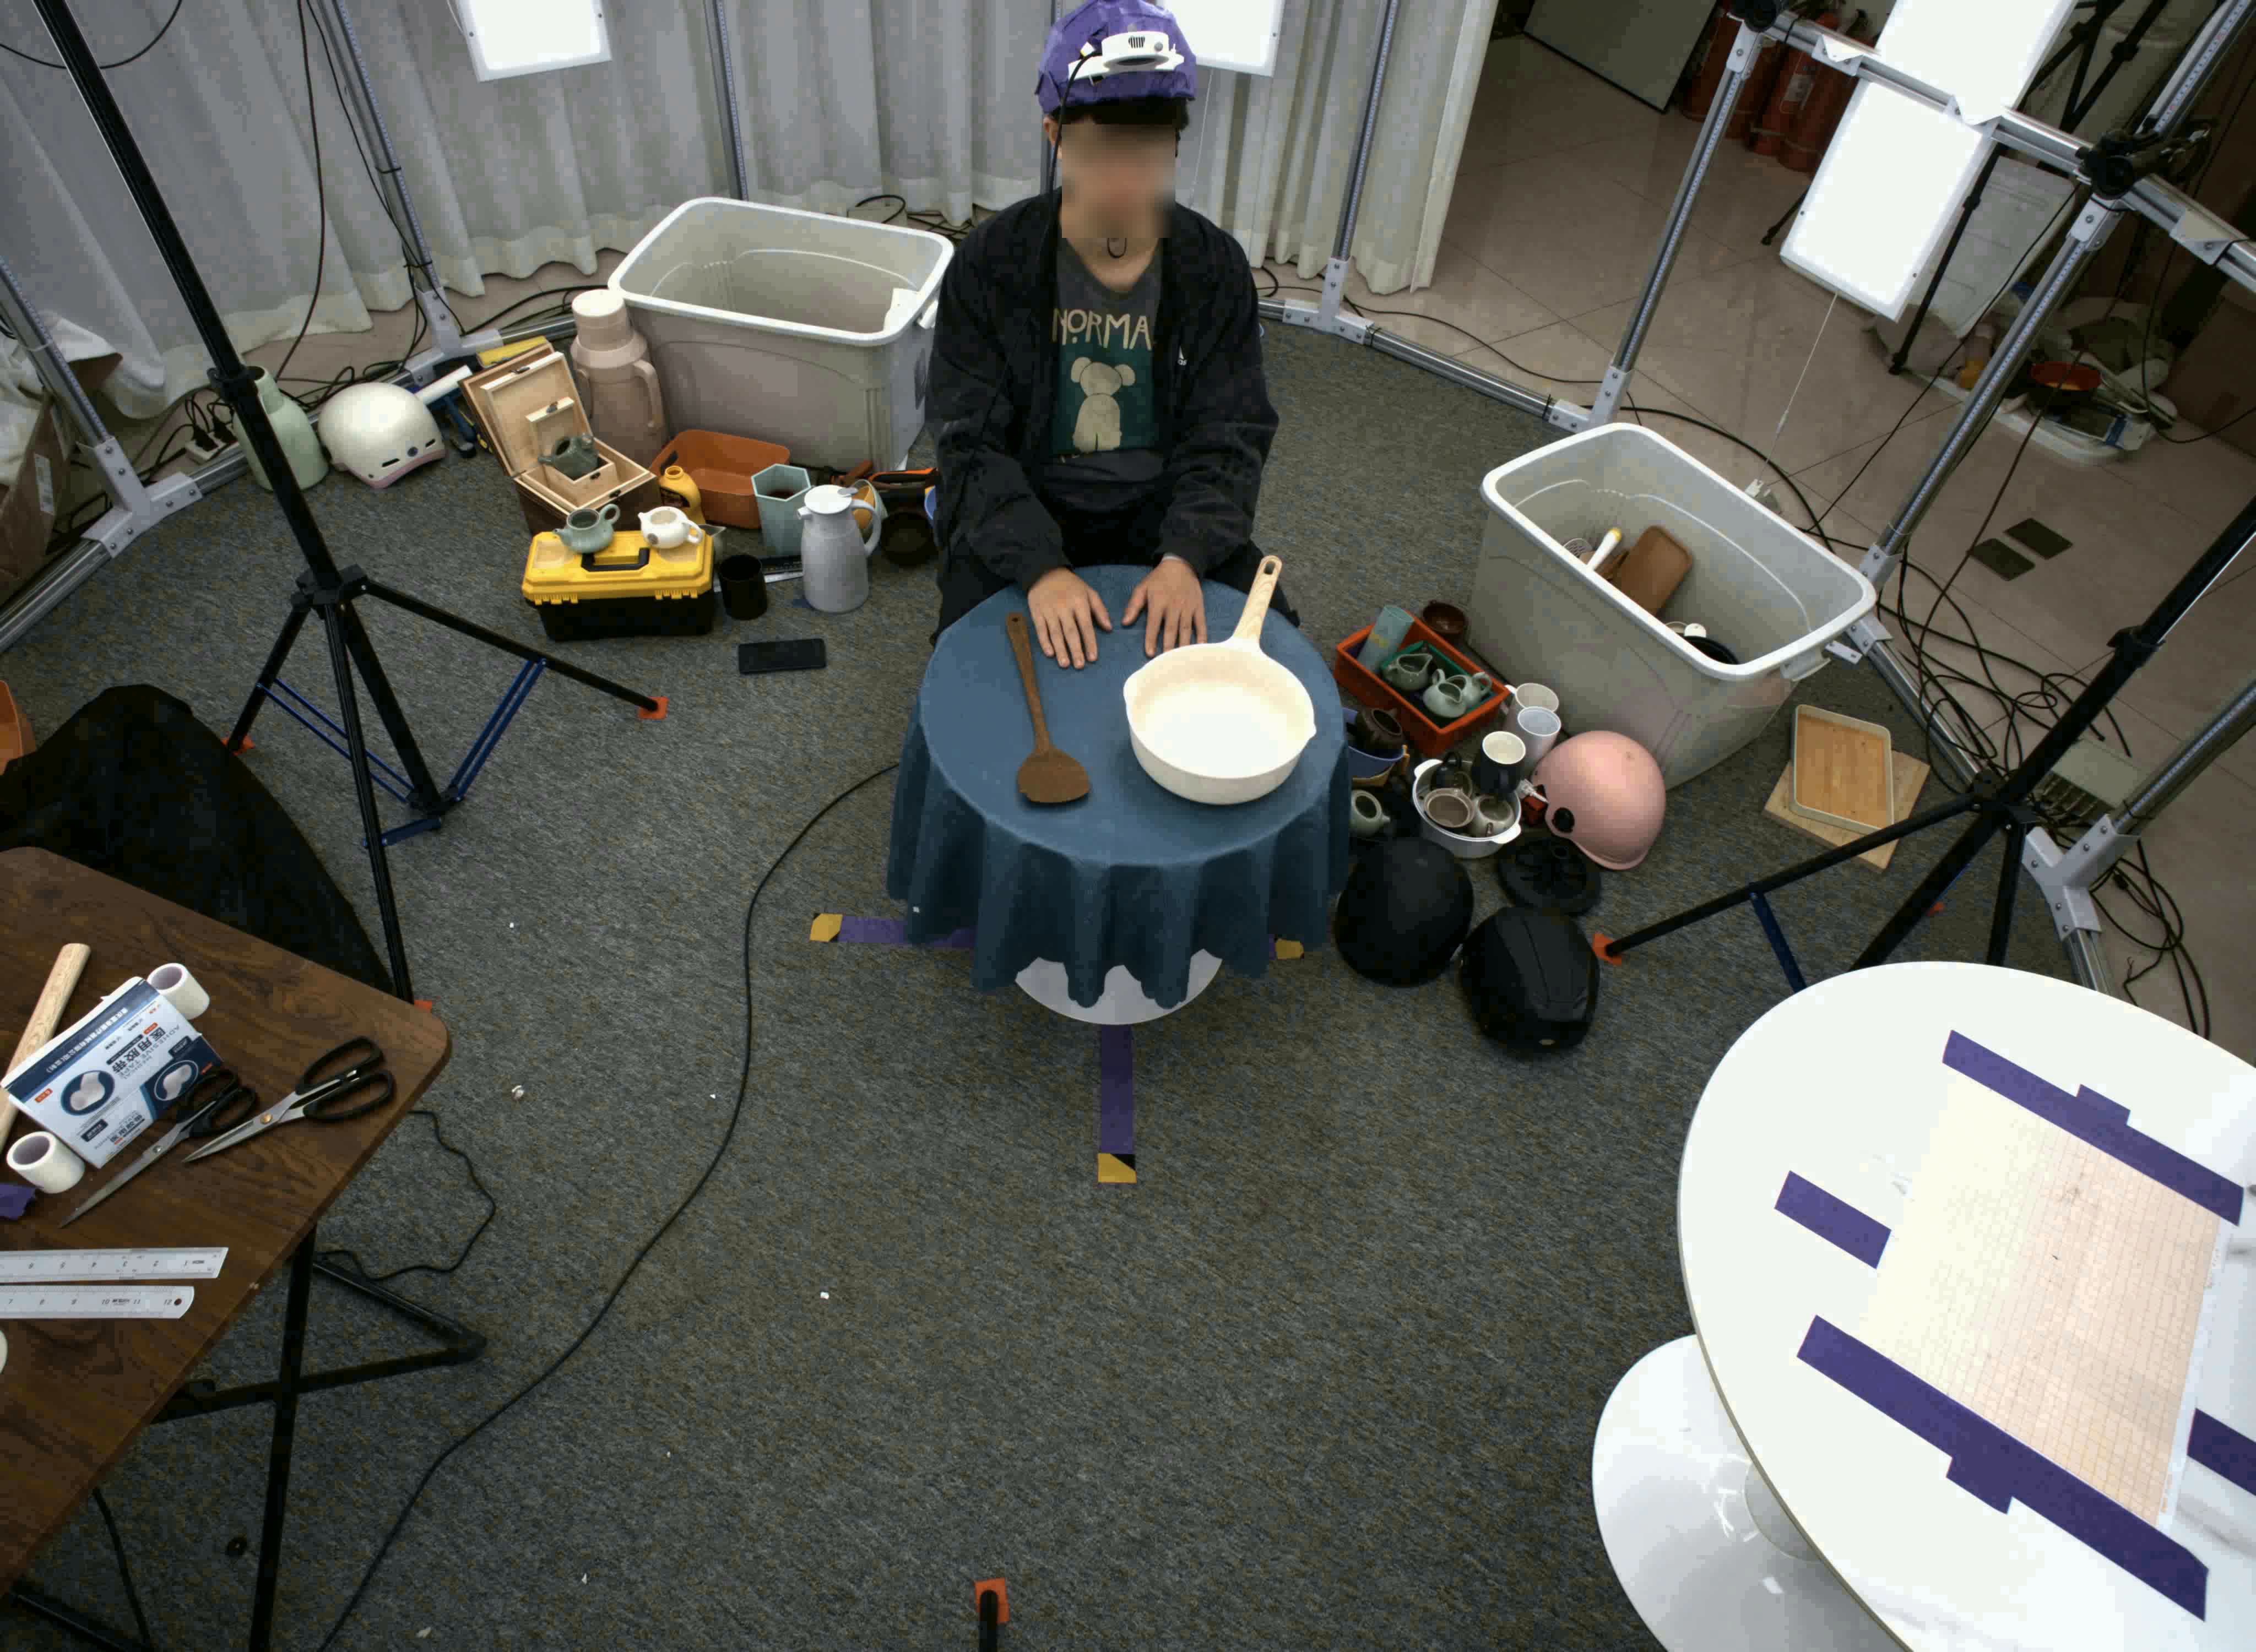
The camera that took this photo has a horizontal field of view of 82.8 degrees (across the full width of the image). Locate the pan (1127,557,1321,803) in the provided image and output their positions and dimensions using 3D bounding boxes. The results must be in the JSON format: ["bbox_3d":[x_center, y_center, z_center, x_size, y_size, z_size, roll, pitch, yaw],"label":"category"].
[{"bbox_3d":[0.153,-0.205,1.788,0.264,0.099,0.444,13,49,10],"label":"pan"}]

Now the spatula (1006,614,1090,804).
[{"bbox_3d":[-0.131,-0.174,1.801,0.096,0.015,0.396,-7,49,-10],"label":"spatula"}]
